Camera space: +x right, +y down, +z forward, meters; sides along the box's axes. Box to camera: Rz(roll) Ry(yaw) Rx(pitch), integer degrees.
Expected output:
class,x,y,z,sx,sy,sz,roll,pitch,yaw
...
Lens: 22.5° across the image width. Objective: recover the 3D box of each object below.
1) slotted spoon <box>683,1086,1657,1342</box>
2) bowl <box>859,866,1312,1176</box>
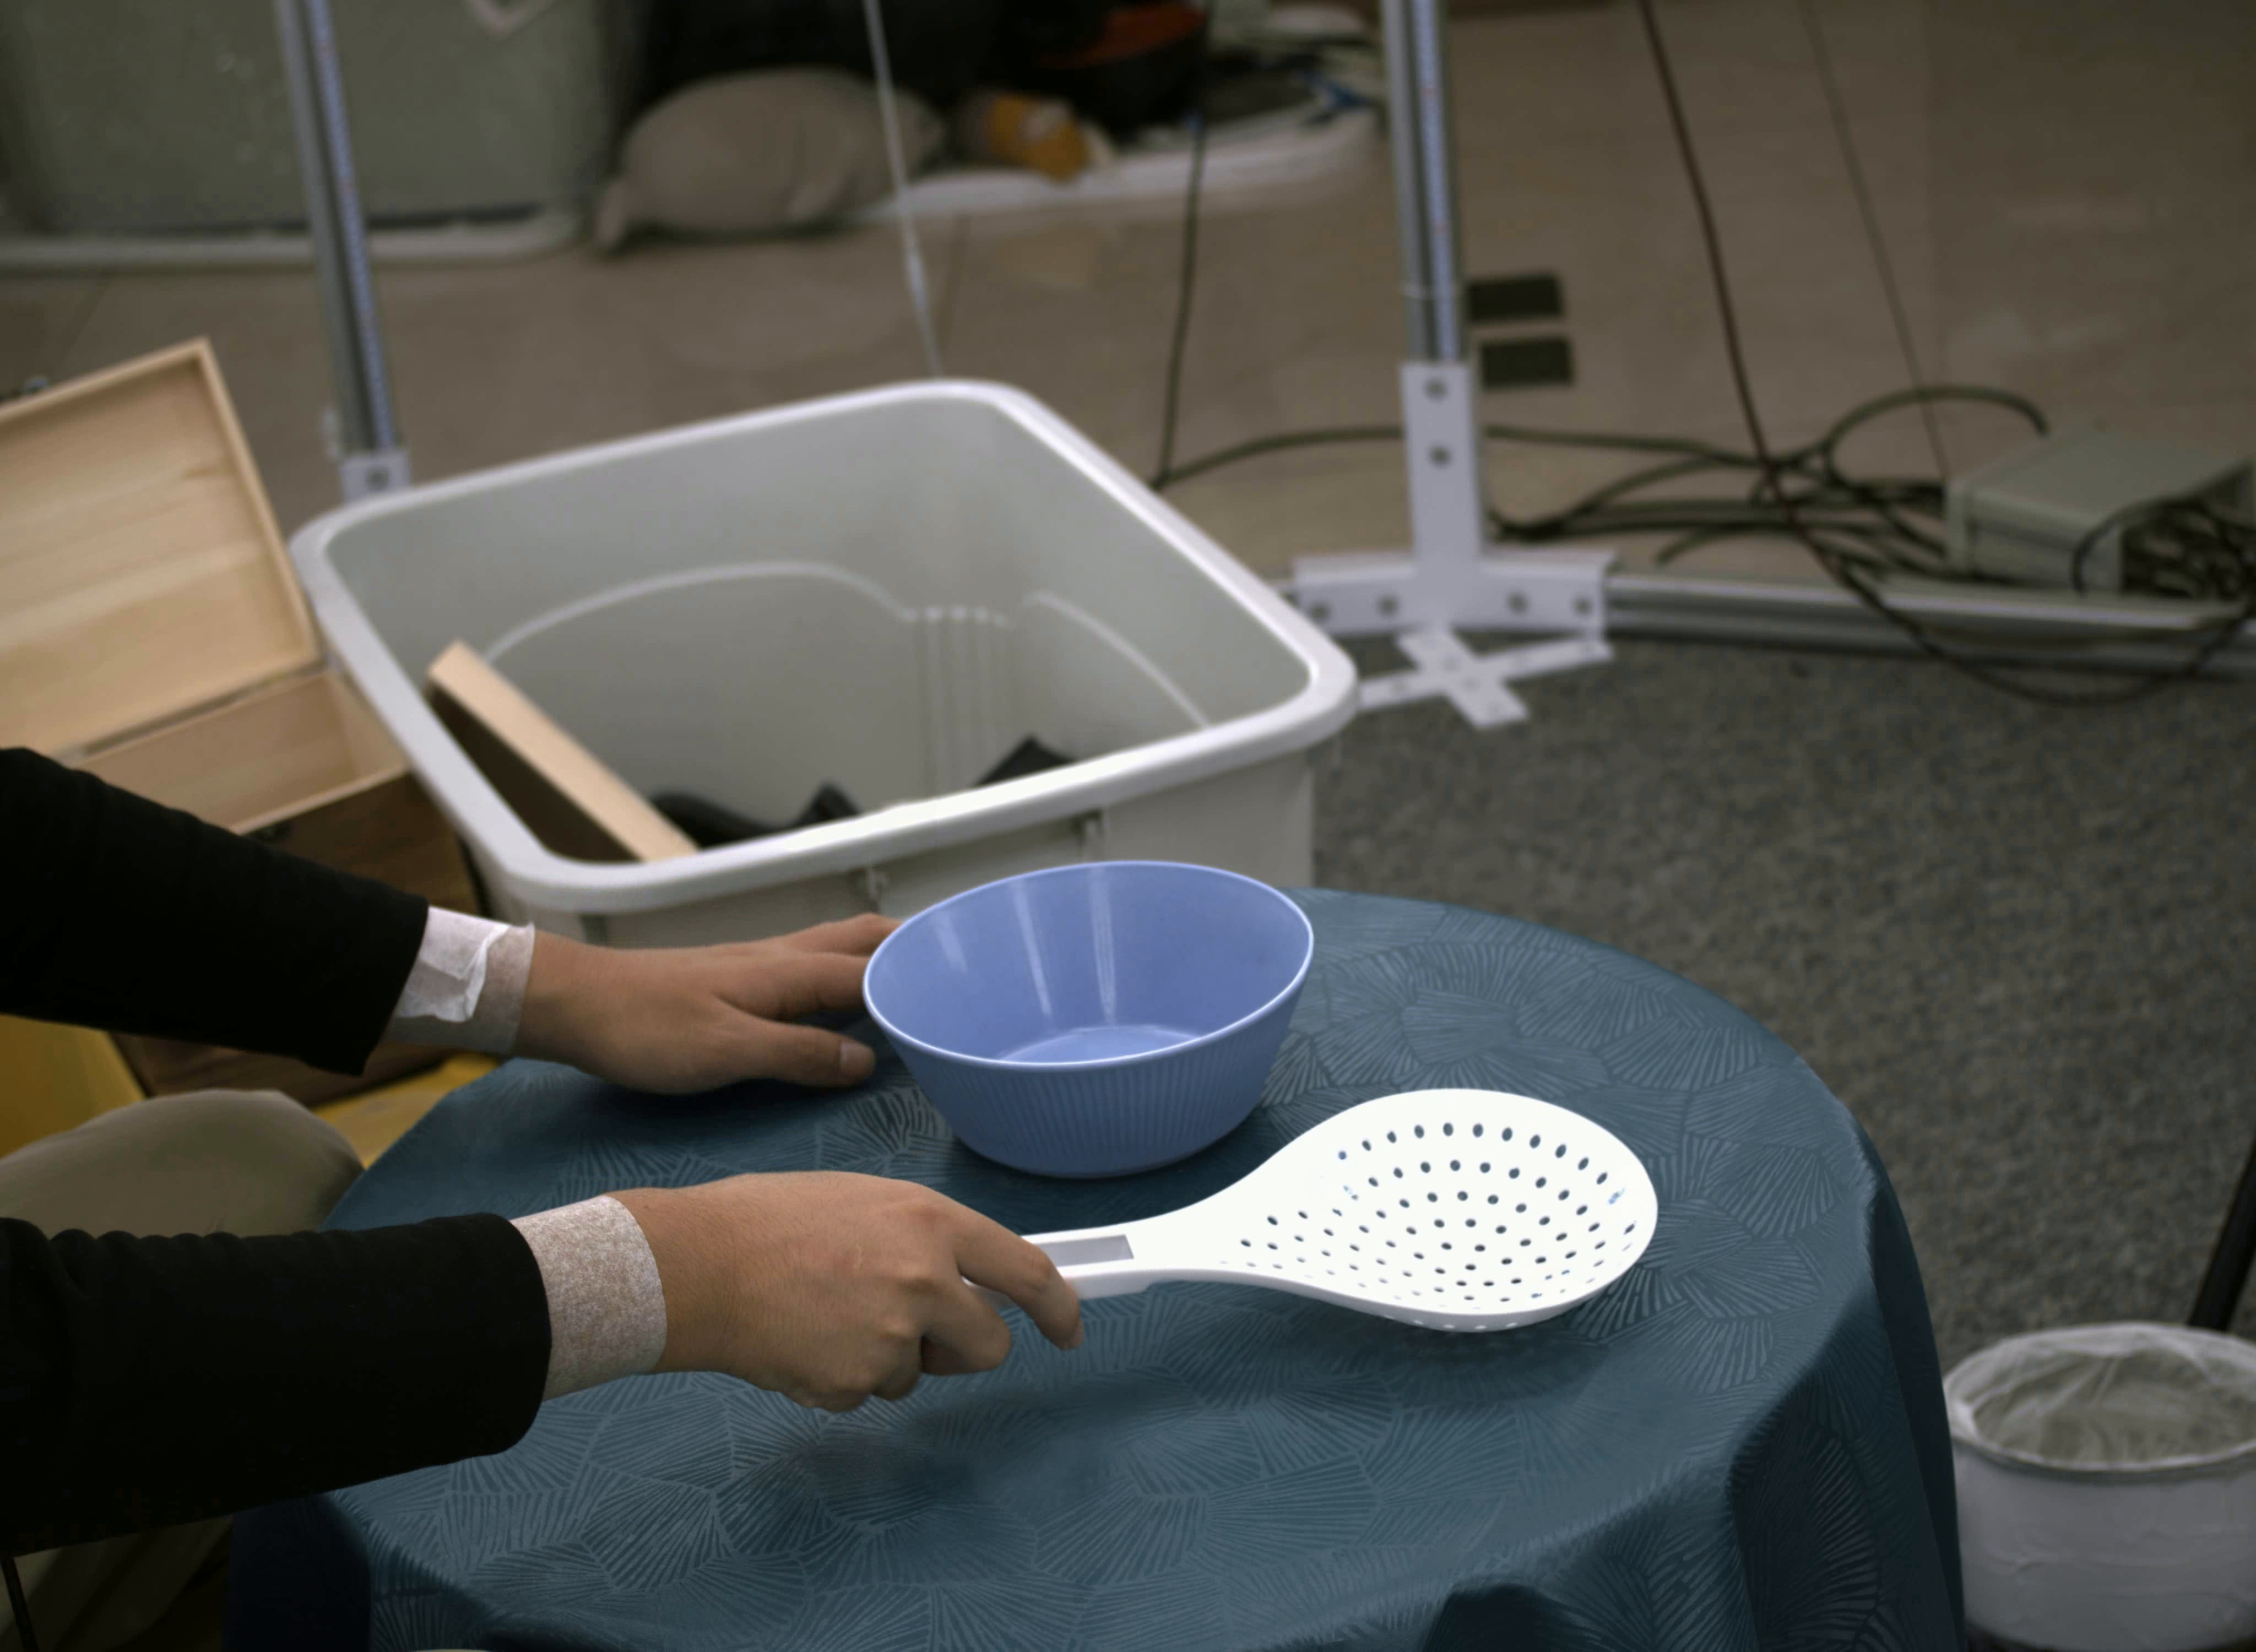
class,x,y,z,sx,sy,sz,roll,pitch,yaw
slotted spoon,0.016,0.151,2.014,0.349,0.046,0.134,-2,34,-14
bowl,-0.013,0.080,2.192,0.176,0.071,0.173,-6,25,3
